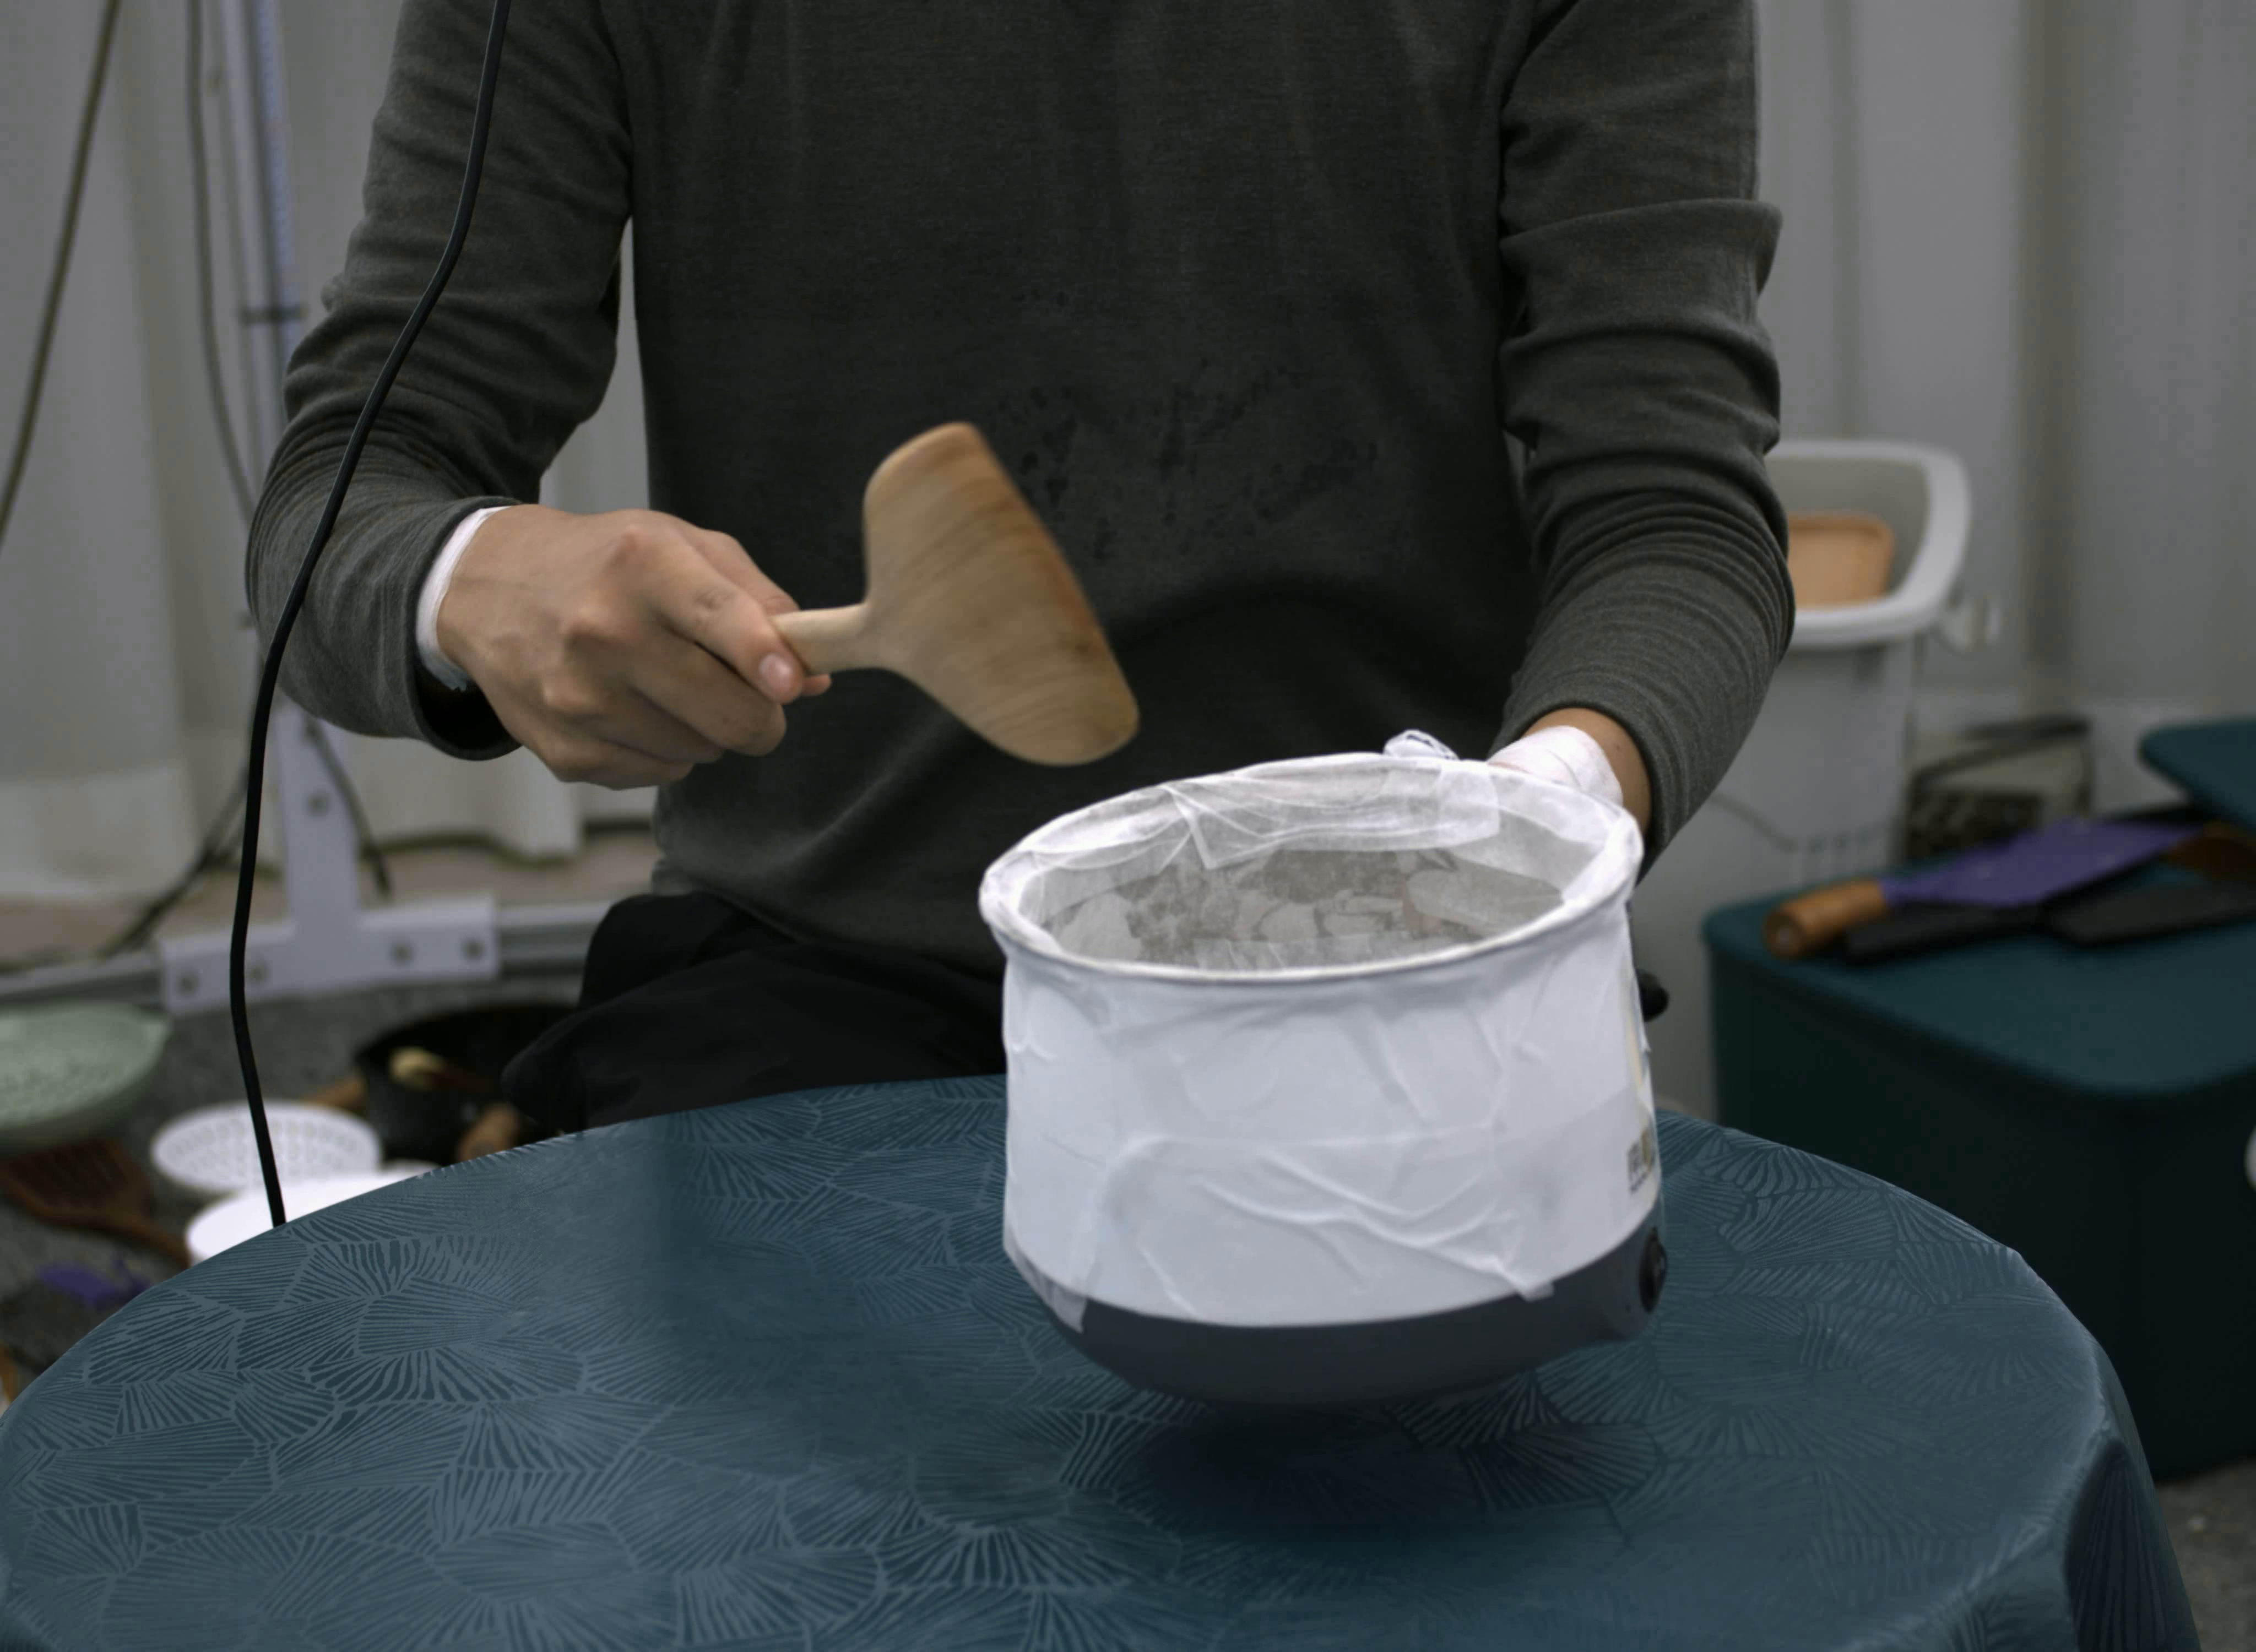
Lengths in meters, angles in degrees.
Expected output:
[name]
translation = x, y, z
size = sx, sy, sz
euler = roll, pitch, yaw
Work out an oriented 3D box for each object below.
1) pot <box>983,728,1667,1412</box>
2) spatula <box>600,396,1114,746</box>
[pot]
translation = 0.063, 0.060, 1.497
size = 0.178, 0.136, 0.235
euler = 1, 18, 18
[spatula]
translation = -0.092, -0.058, 1.533
size = 0.018, 0.095, 0.391
euler = -31, 9, -18
